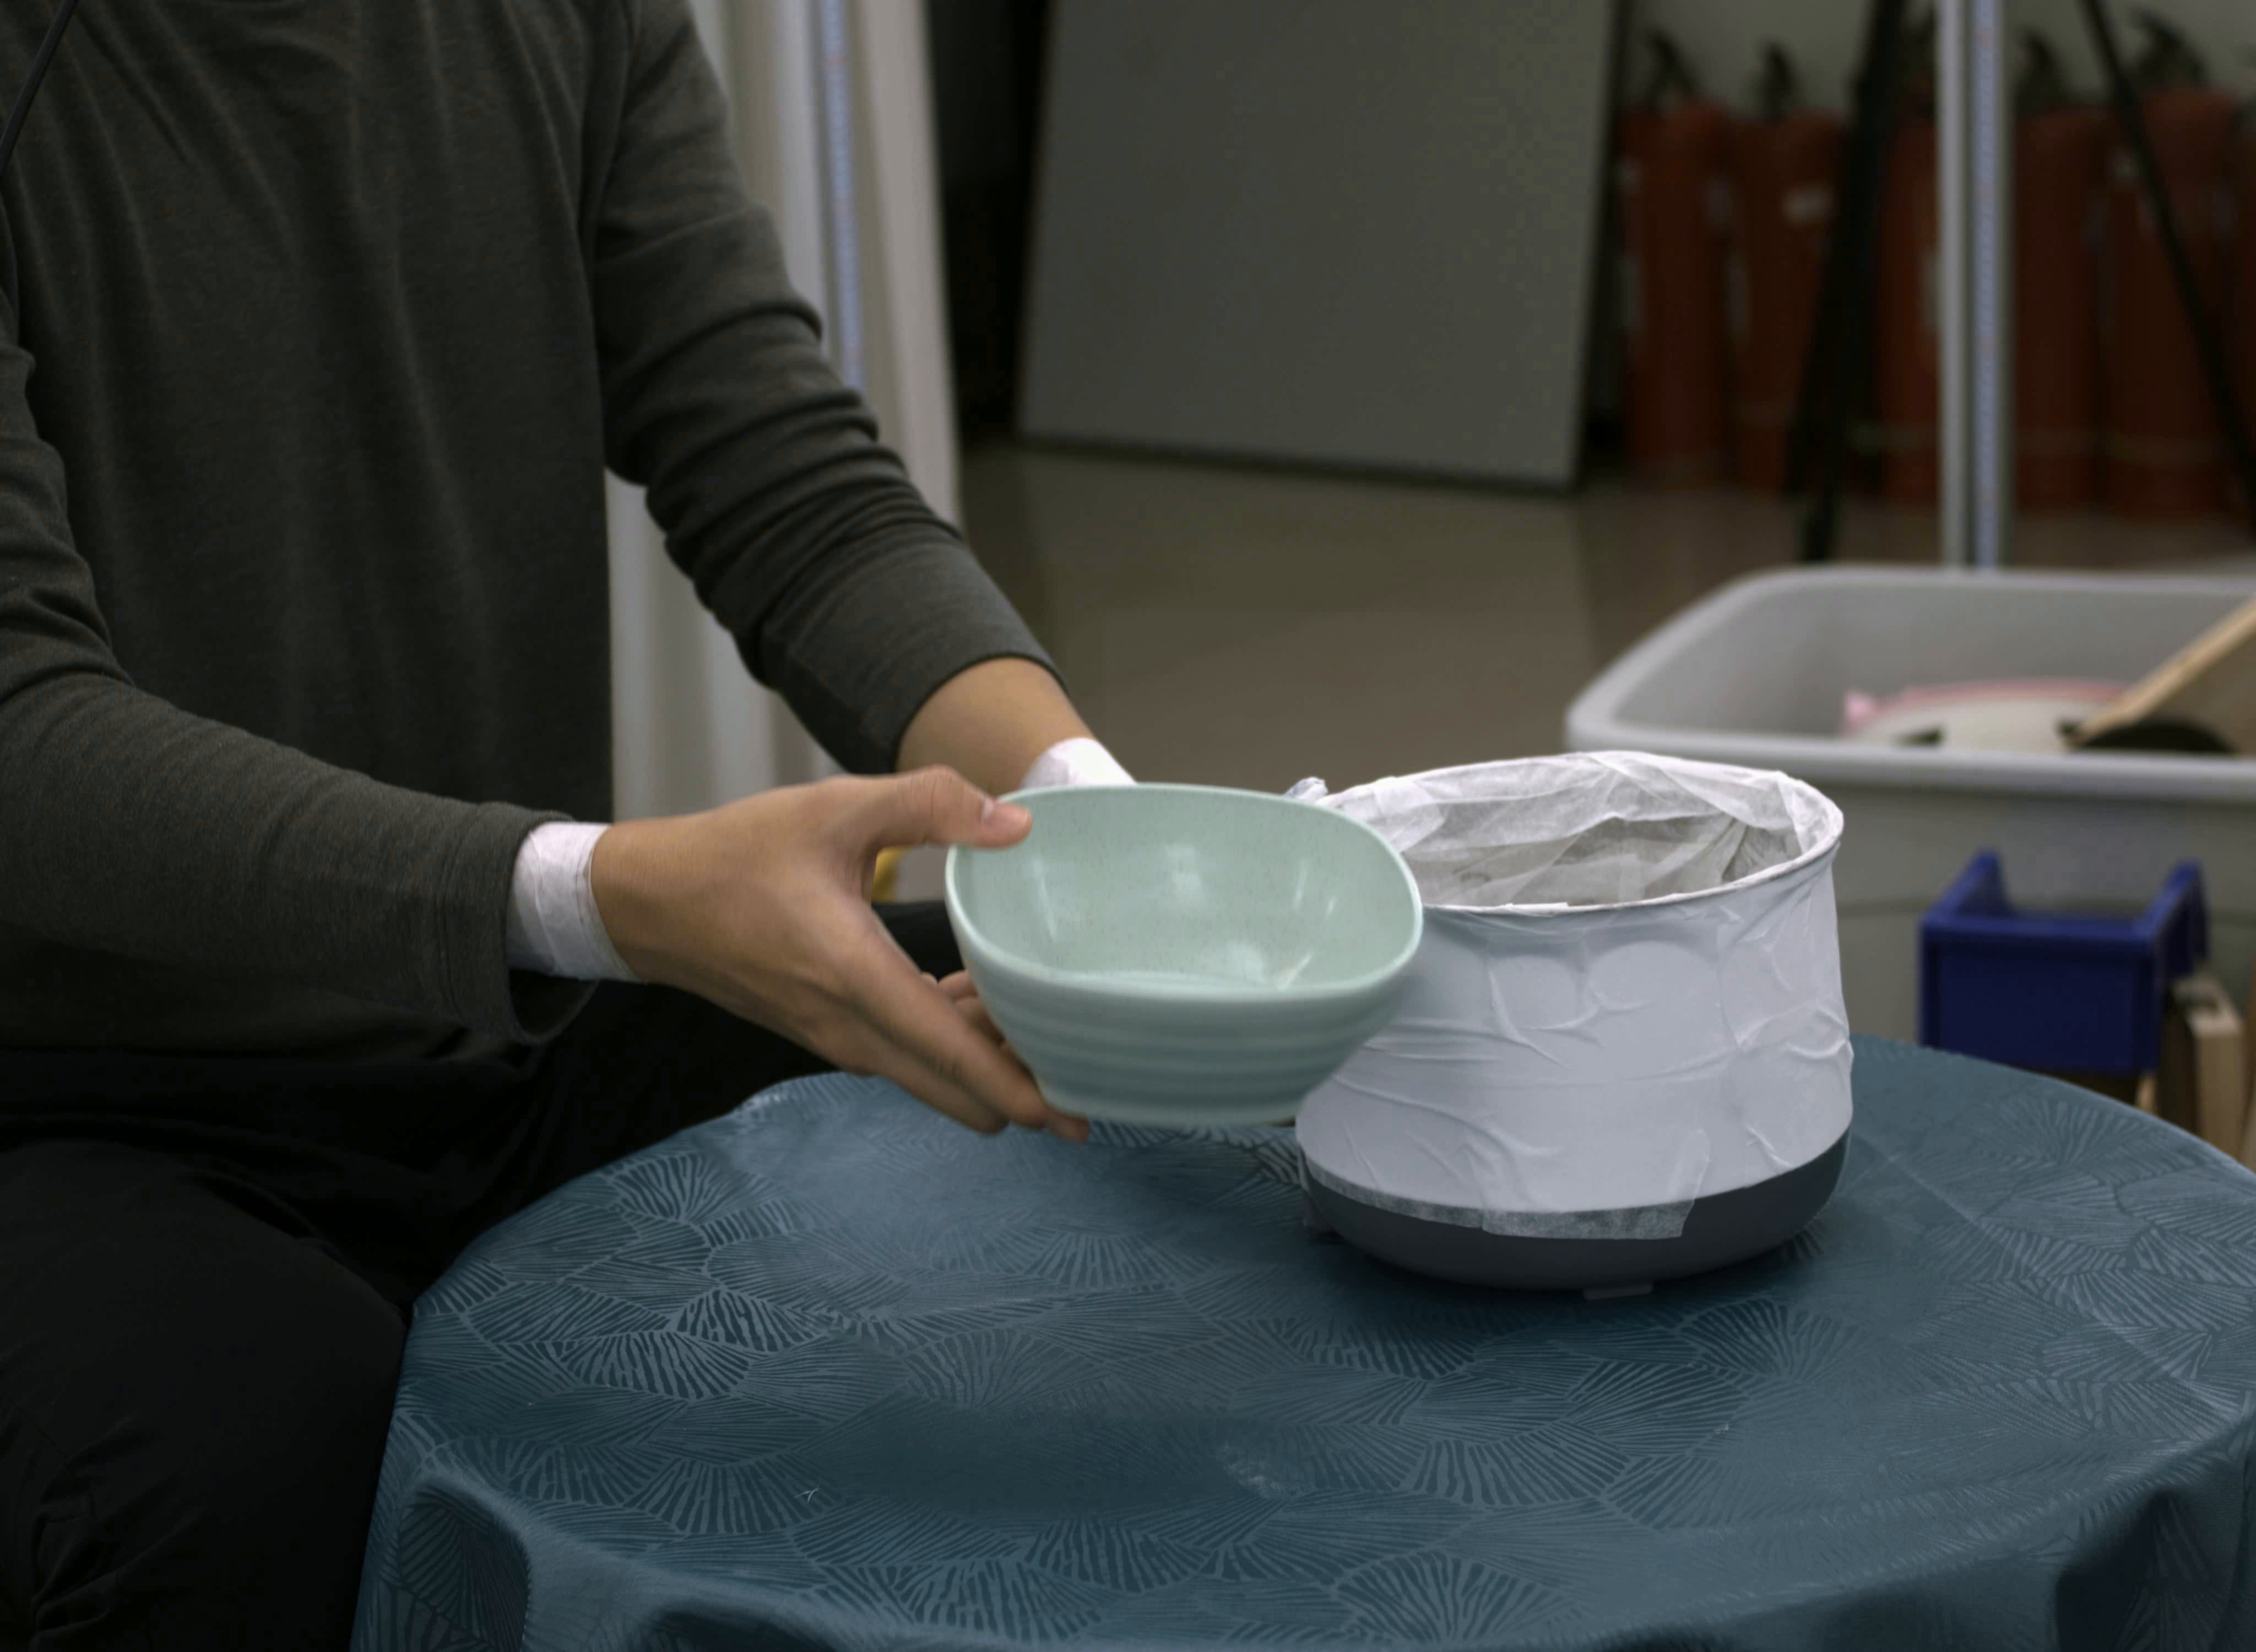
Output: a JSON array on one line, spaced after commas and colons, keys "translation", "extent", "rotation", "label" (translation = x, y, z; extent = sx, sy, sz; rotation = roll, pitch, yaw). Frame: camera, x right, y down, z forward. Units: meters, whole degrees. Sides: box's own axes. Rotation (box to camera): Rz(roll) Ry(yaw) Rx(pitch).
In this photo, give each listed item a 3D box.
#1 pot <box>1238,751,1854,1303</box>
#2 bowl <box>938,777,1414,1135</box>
[{"translation": [0.117, 0.059, 1.706], "extent": [0.235, 0.138, 0.175], "rotation": [7, 18, 39], "label": "pot"}, {"translation": [0.012, 0.043, 1.558], "extent": [0.149, 0.059, 0.152], "rotation": [4, 26, -3], "label": "bowl"}]
